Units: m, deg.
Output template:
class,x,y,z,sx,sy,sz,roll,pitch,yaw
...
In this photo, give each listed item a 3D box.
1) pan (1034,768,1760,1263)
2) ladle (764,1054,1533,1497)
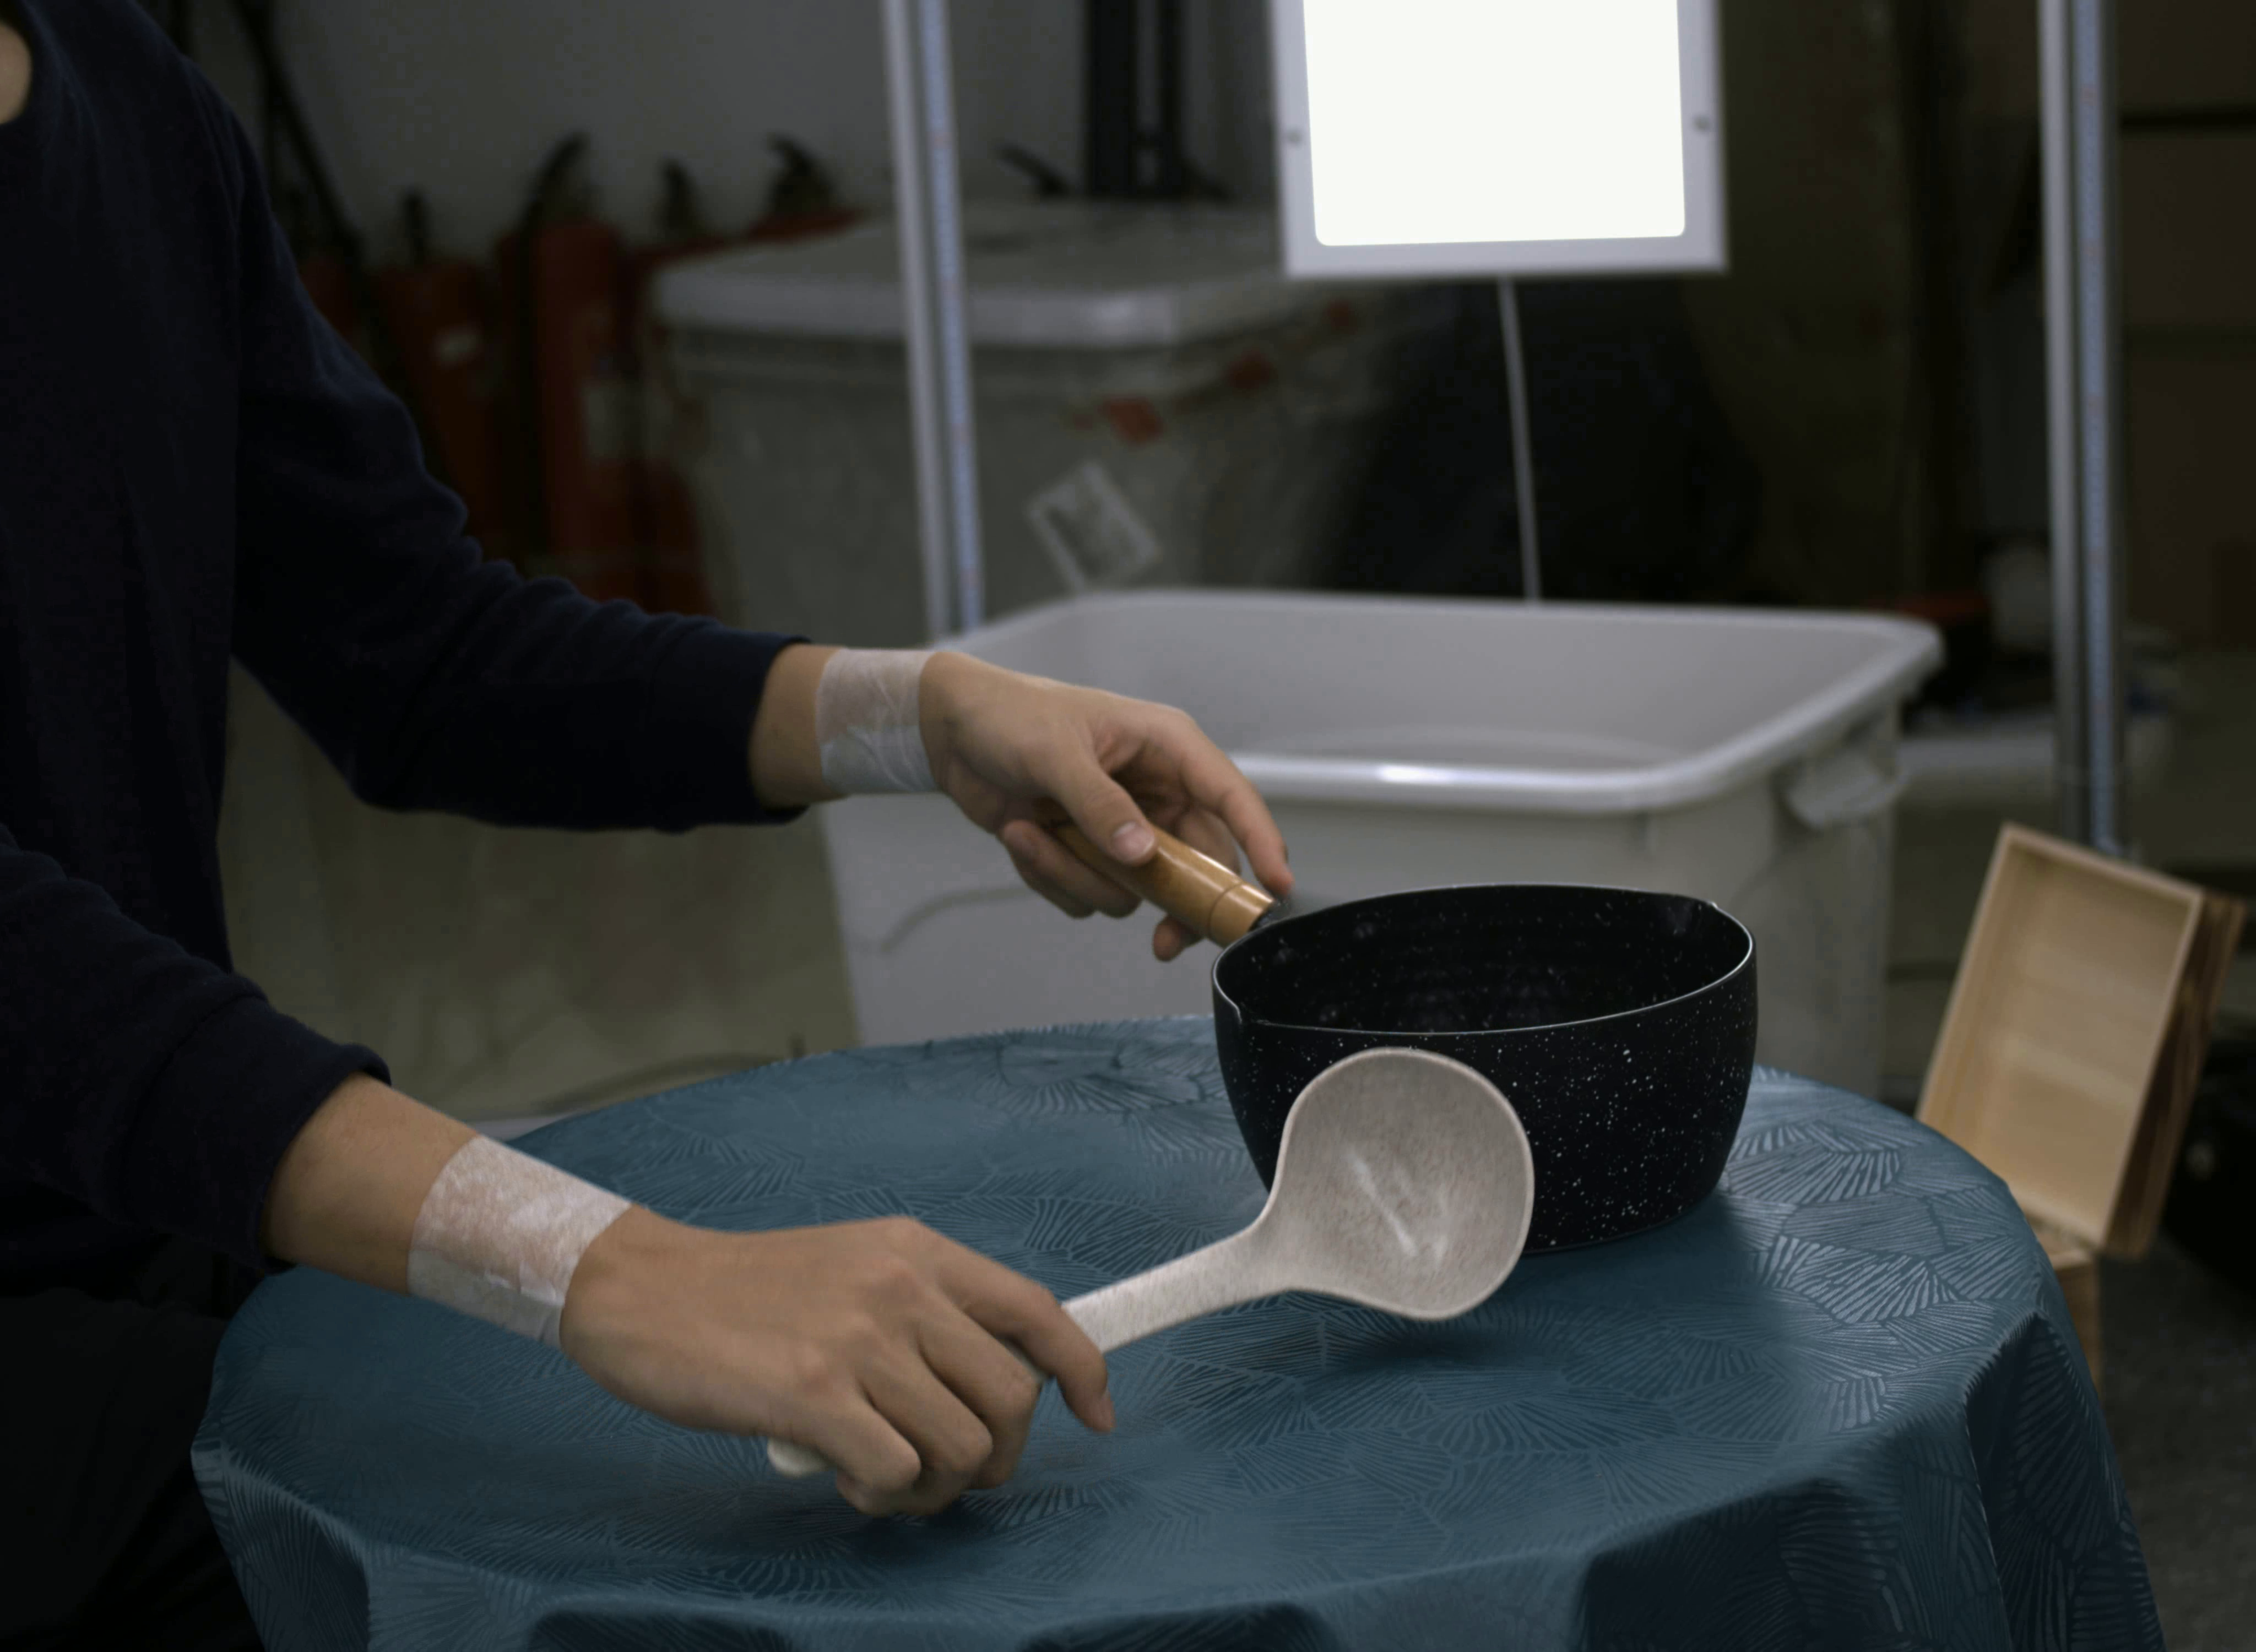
class,x,y,z,sx,sy,sz,roll,pitch,yaw
pan,0.074,0.060,1.914,0.202,0.108,0.350,-16,19,-33
ladle,0.010,0.139,1.644,0.268,0.090,0.071,-18,-16,-41
